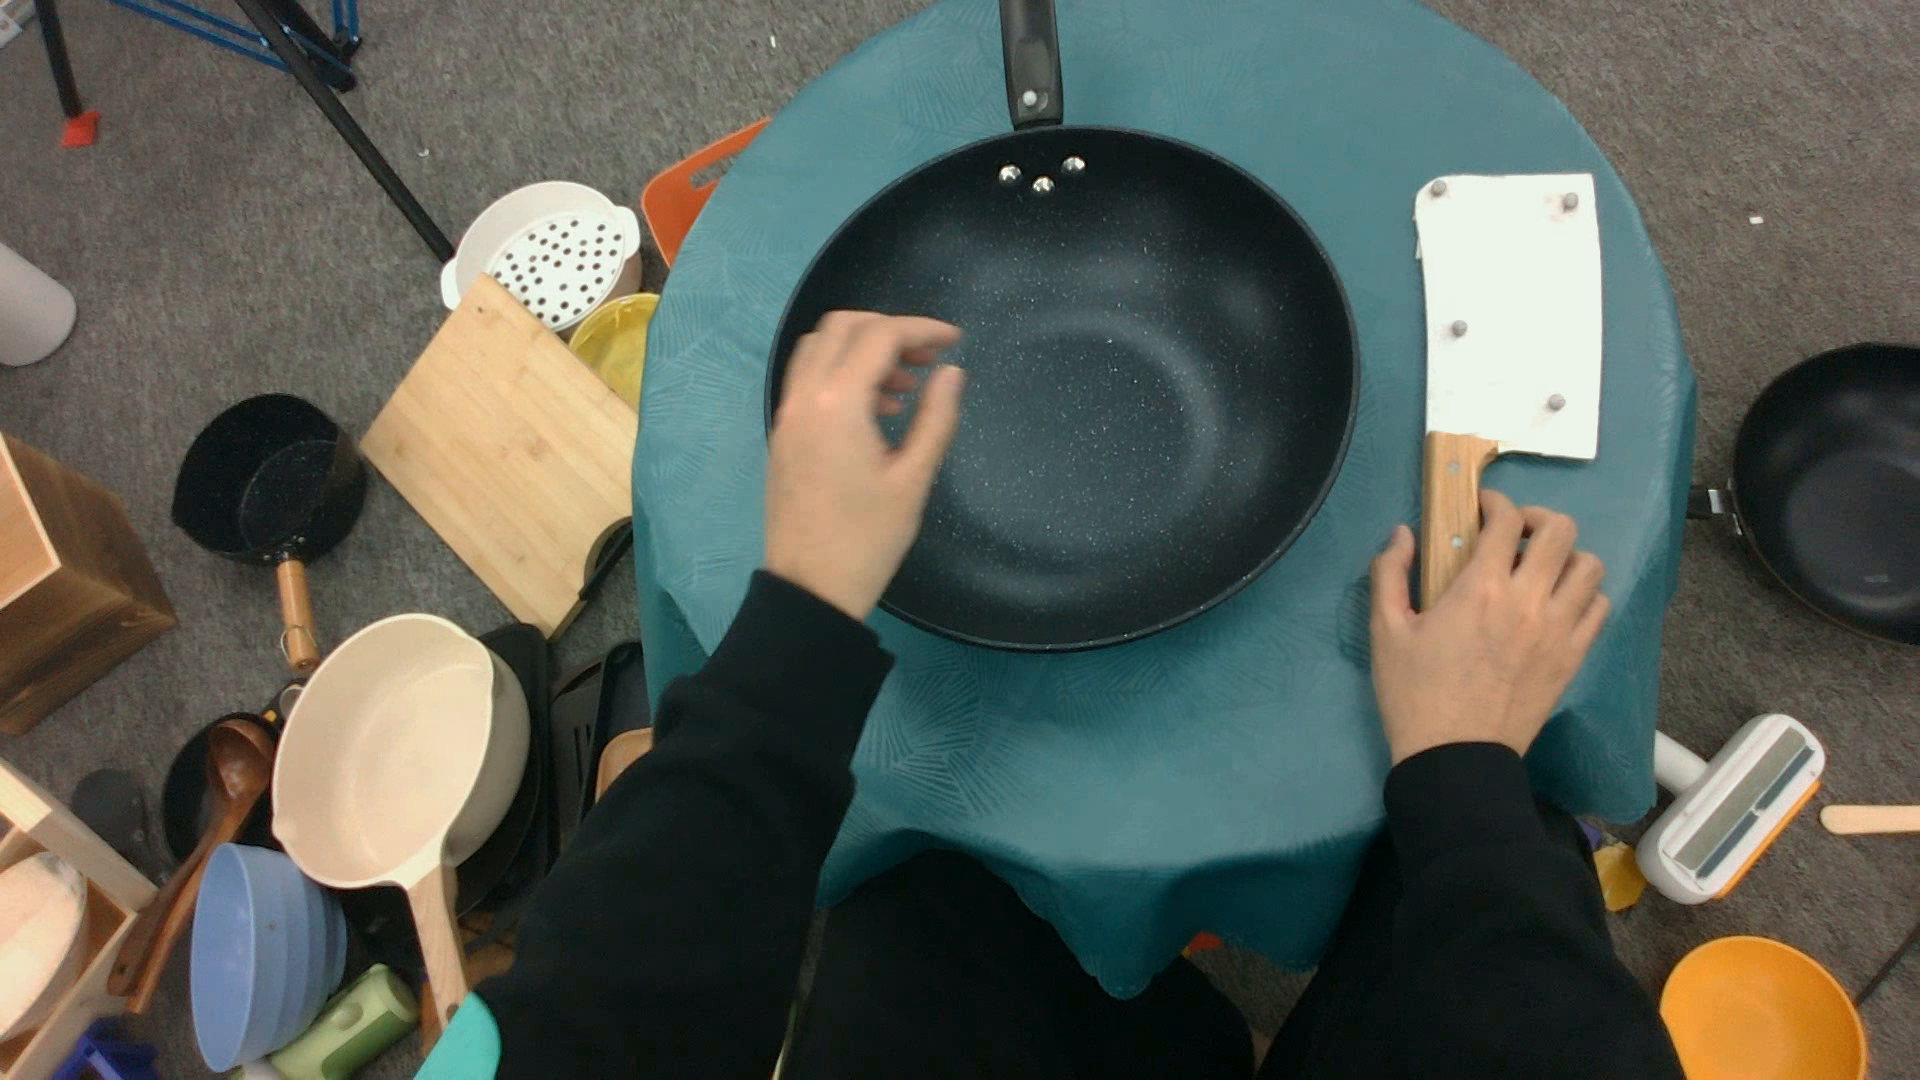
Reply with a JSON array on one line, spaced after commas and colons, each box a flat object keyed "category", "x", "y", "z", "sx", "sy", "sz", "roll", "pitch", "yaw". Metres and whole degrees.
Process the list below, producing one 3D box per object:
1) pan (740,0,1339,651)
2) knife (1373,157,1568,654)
[{"category": "pan", "x": 0.037, "y": -0.158, "z": 0.769, "sx": 0.310, "sy": 0.111, "sz": 0.478, "roll": -5, "pitch": 68, "yaw": 5}, {"category": "knife", "x": 0.273, "y": -0.086, "z": 0.753, "sx": 0.114, "sy": 0.021, "sz": 0.316, "roll": 9, "pitch": 67, "yaw": 11}]
